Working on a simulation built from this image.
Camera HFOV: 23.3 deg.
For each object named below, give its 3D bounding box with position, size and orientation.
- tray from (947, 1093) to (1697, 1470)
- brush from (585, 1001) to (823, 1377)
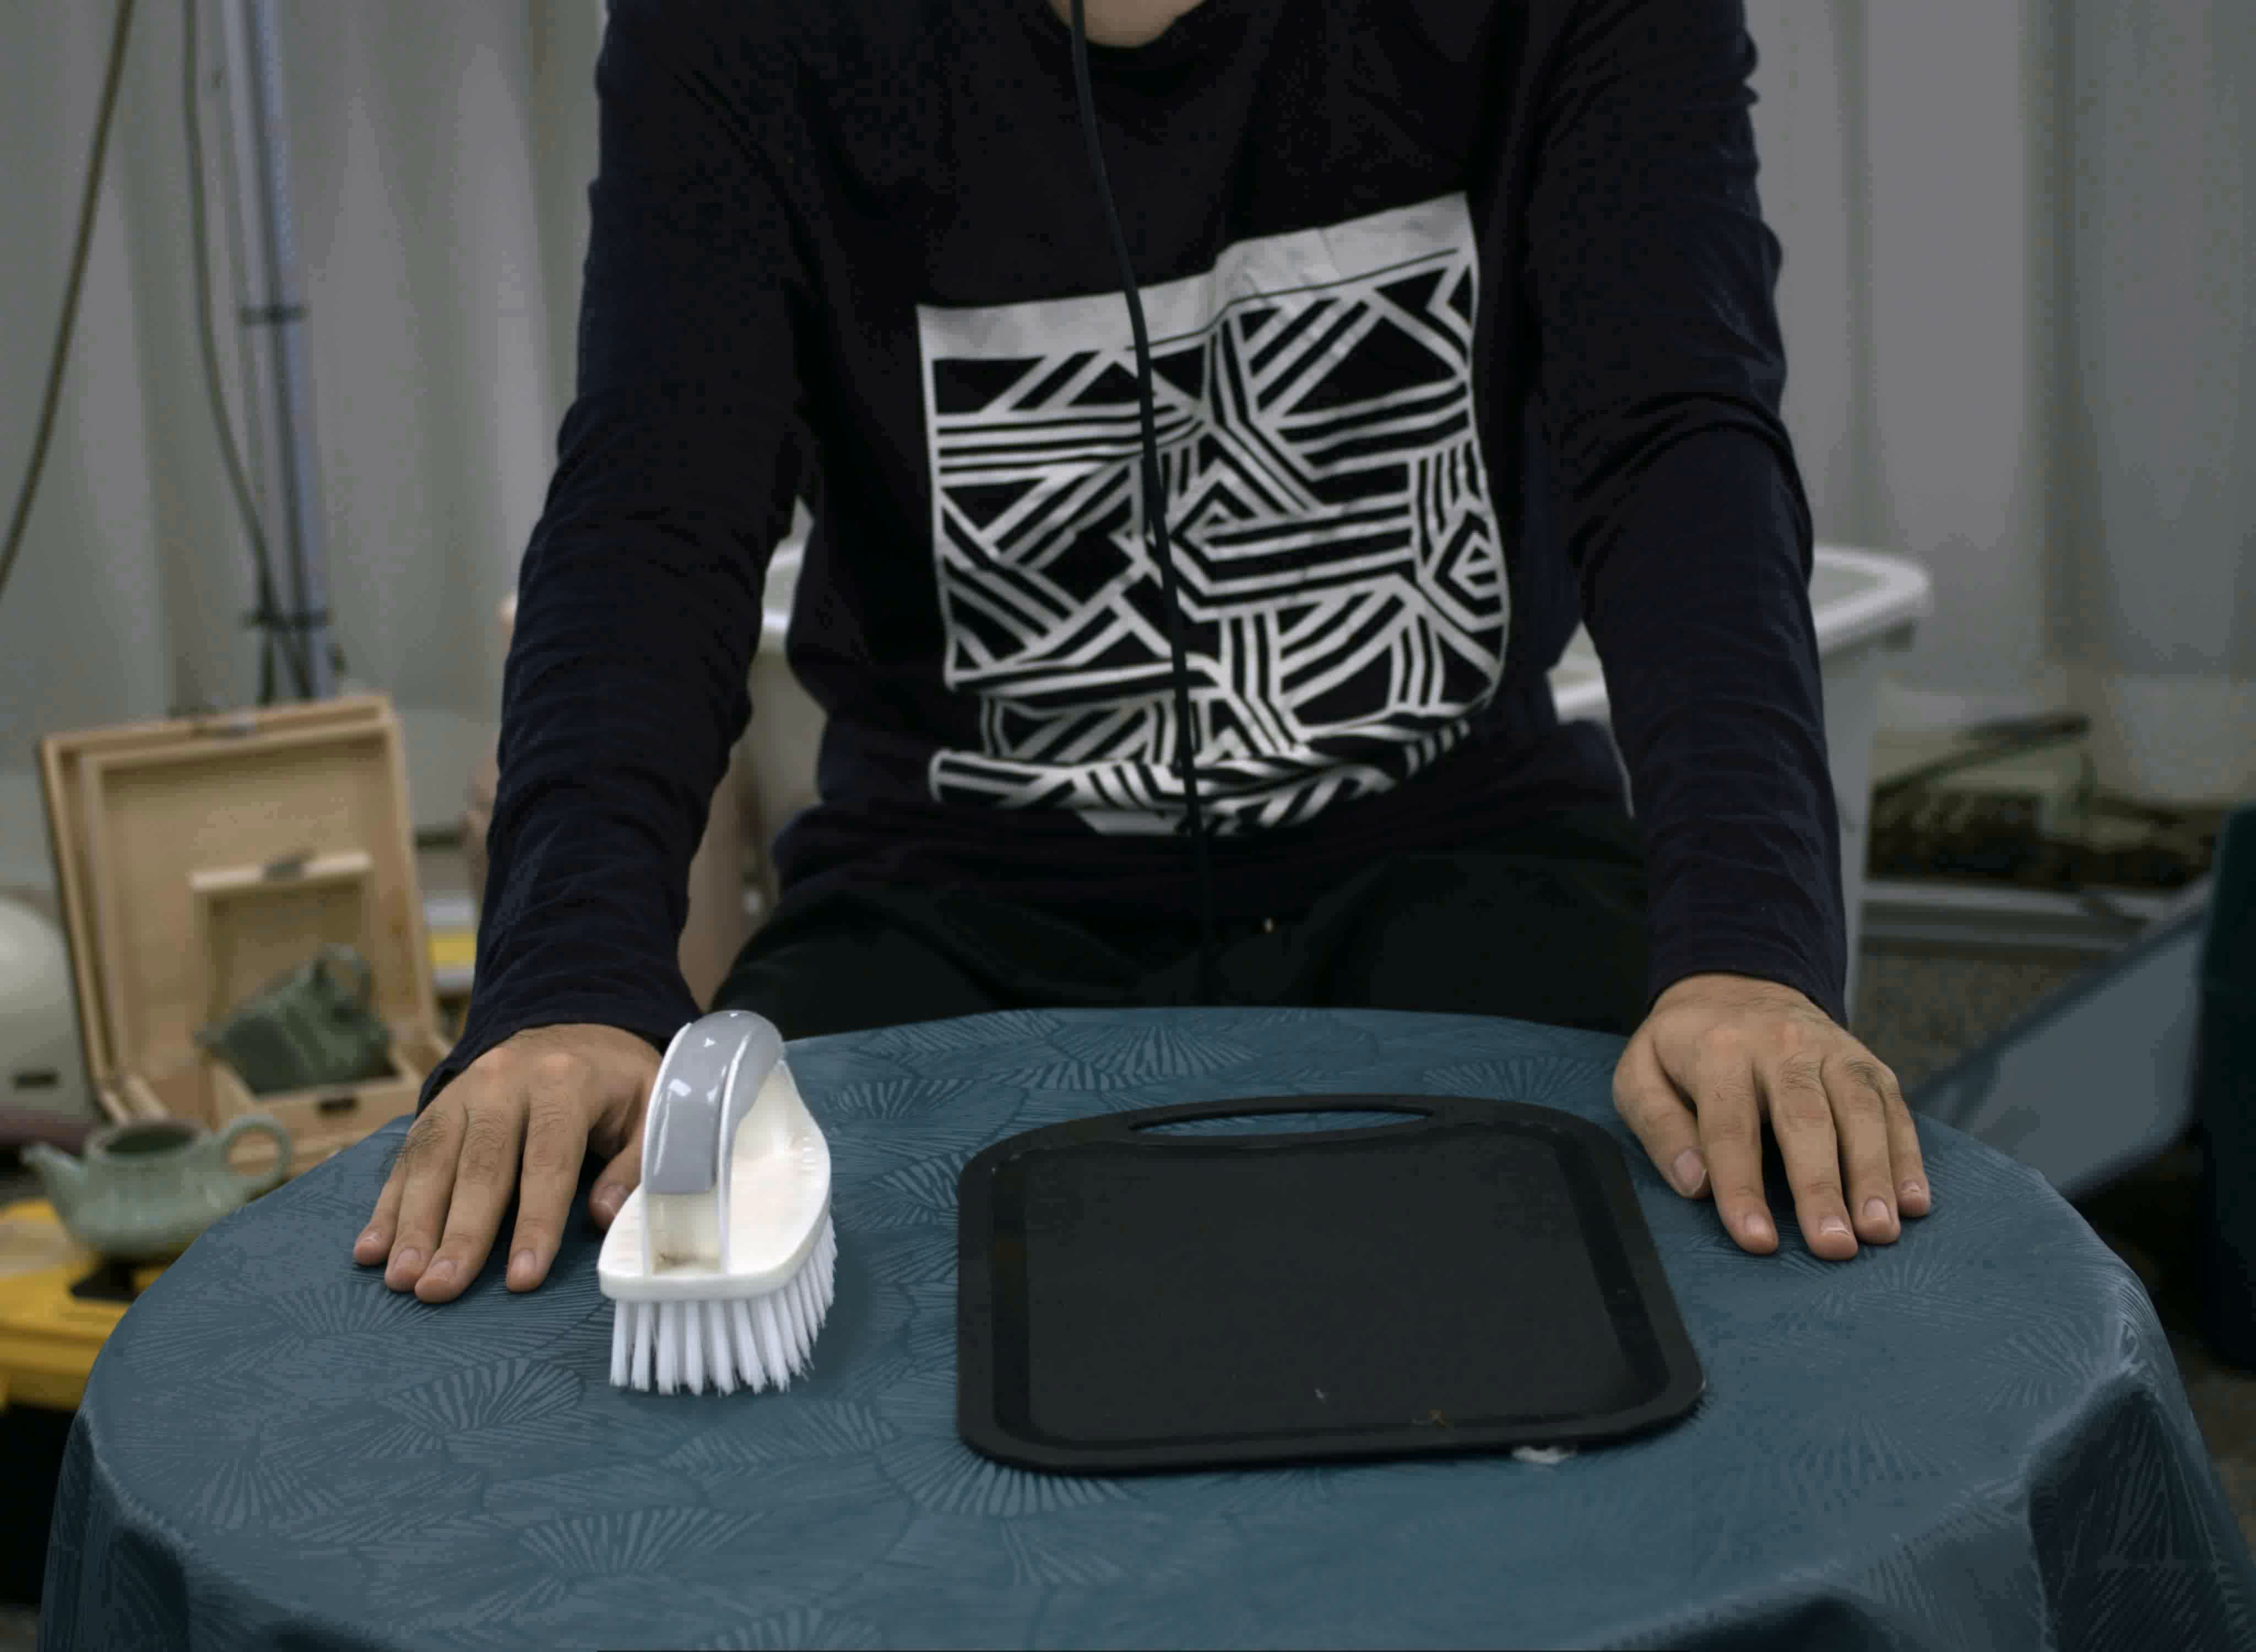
[{"bbox_3d":[0.052,0.129,1.636,0.210,0.010,0.327,-3,15,0],"label":"tray"},{"bbox_3d":[-0.120,0.097,1.629,0.061,0.094,0.176,0,13,7],"label":"brush"}]
